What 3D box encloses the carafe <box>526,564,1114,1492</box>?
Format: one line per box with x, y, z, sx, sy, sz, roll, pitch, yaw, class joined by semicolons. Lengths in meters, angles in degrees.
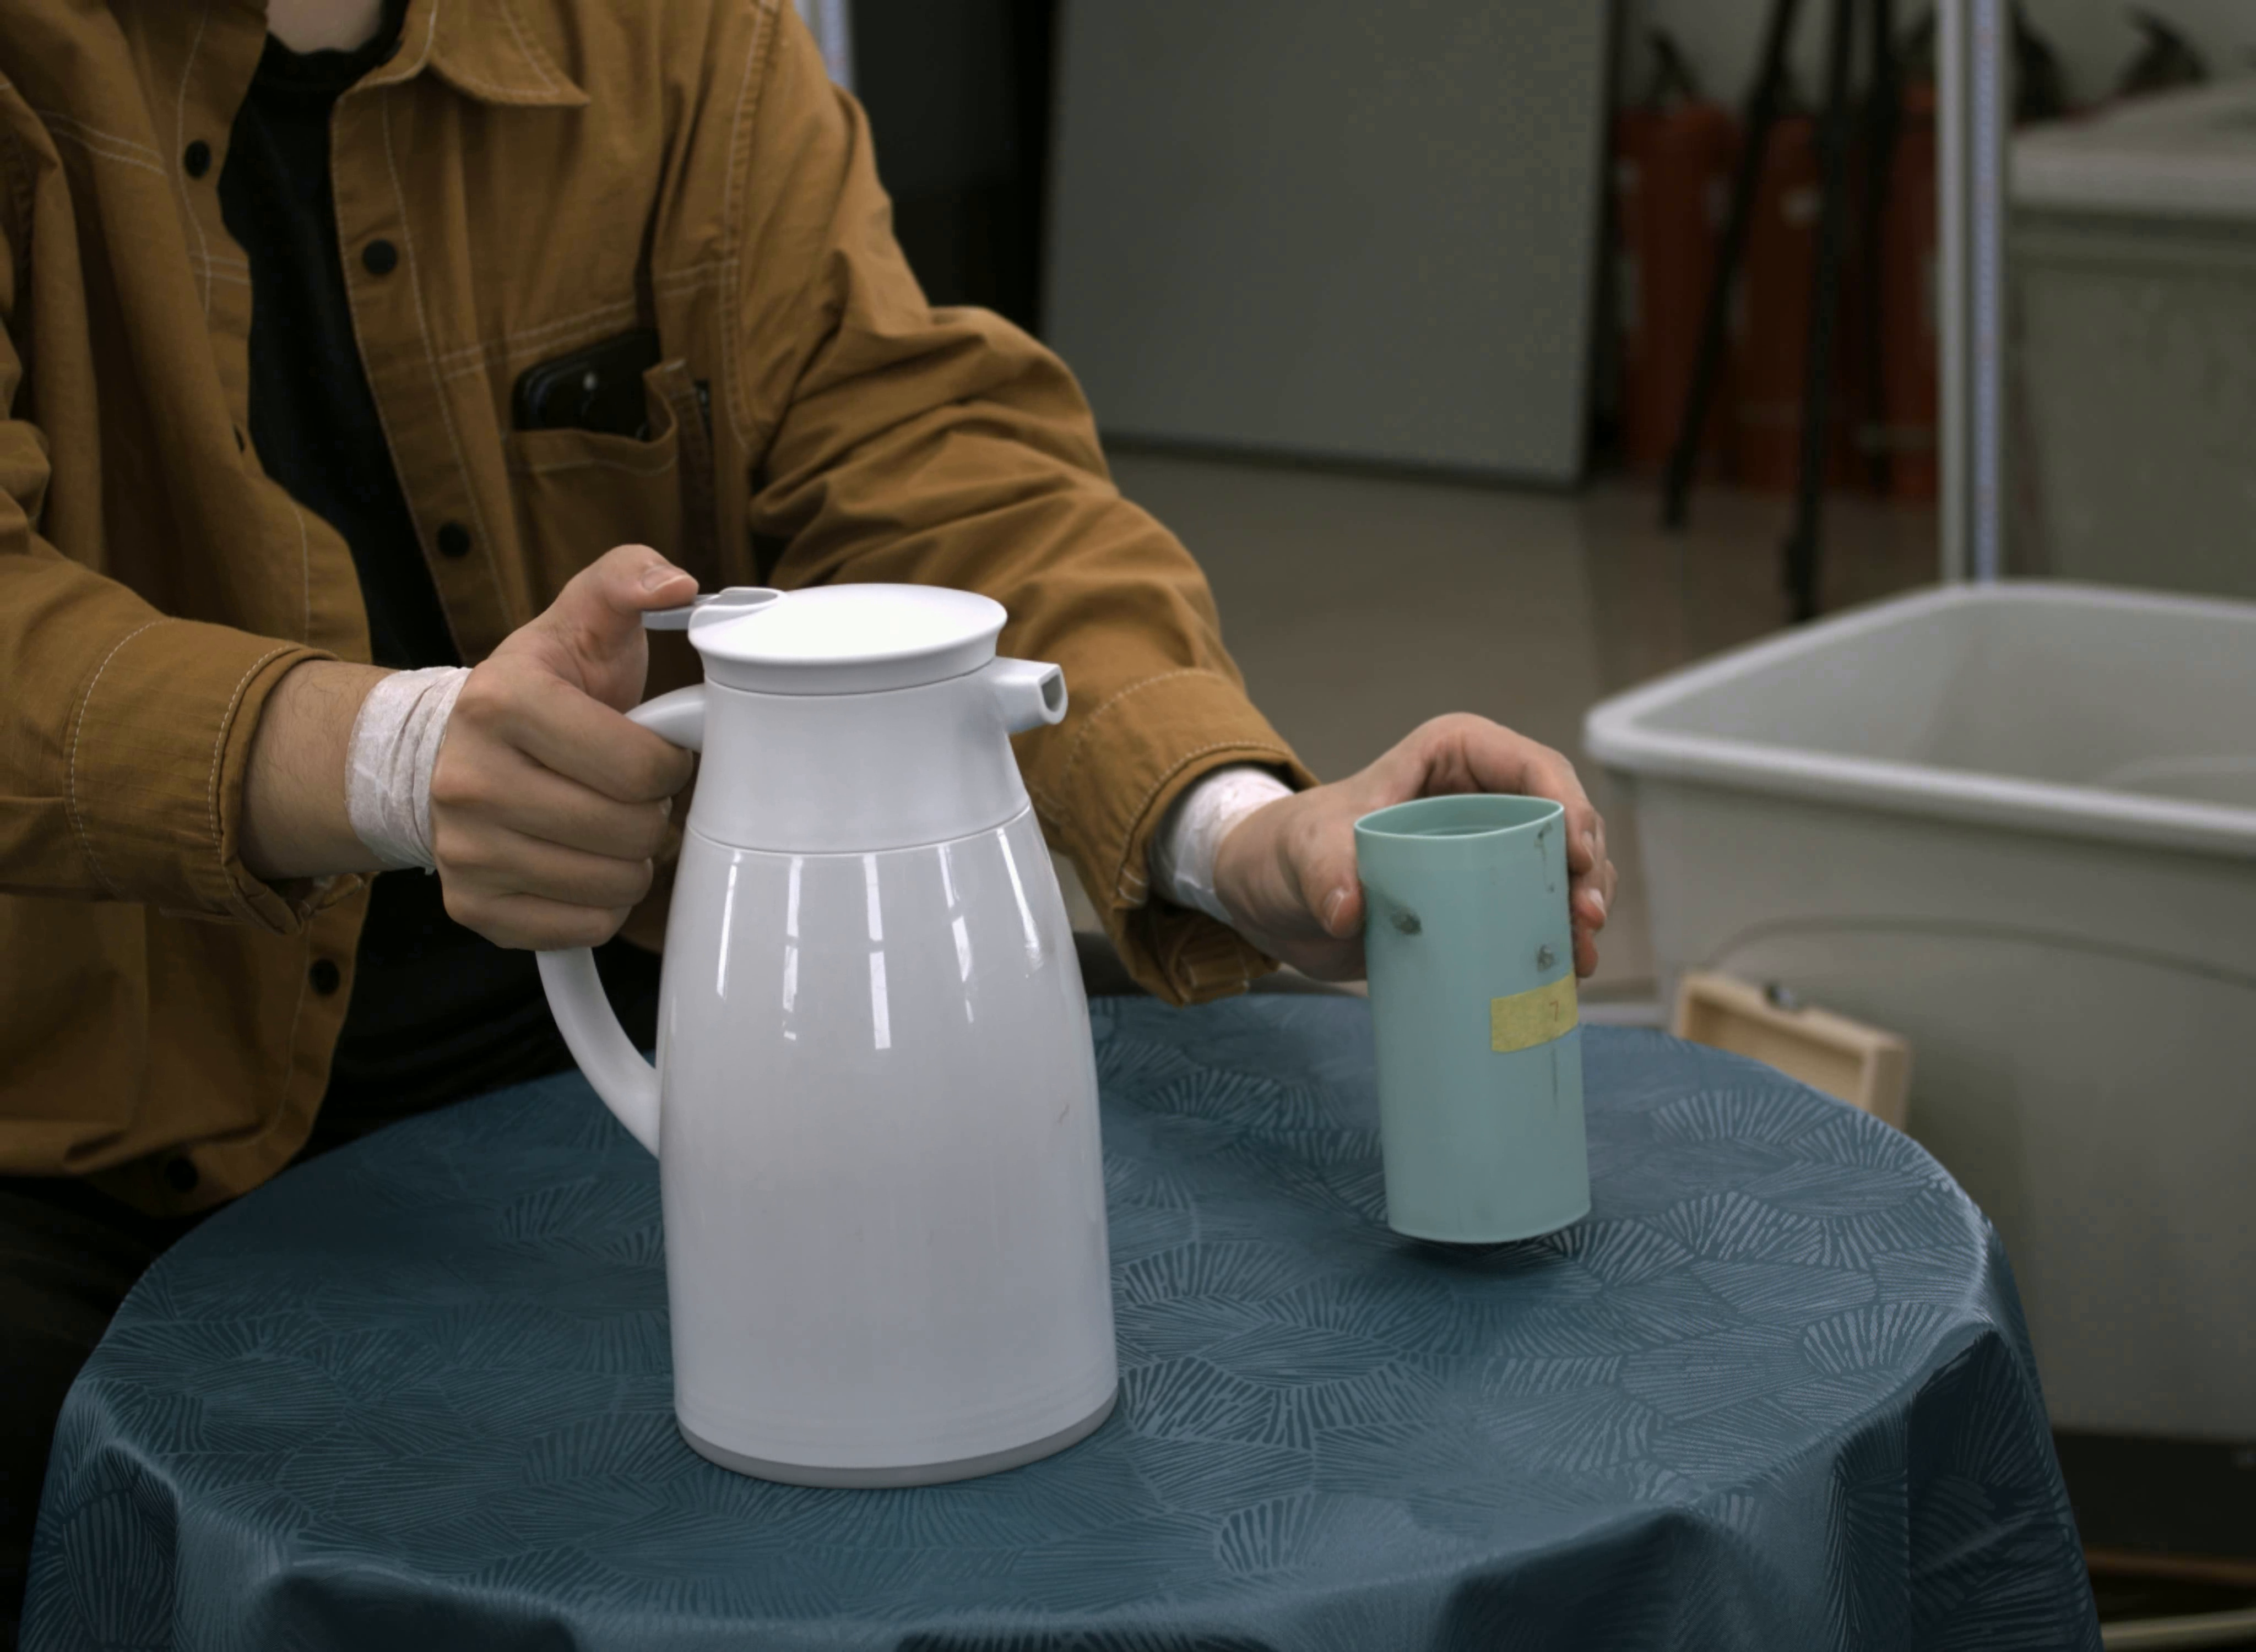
-0.093;0.051;1.562;0.167;0.251;0.131;1;15;19;carafe

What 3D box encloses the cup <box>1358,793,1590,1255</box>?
0.108;0.061;1.680;0.066;0.134;0.067;-5;10;0;cup
